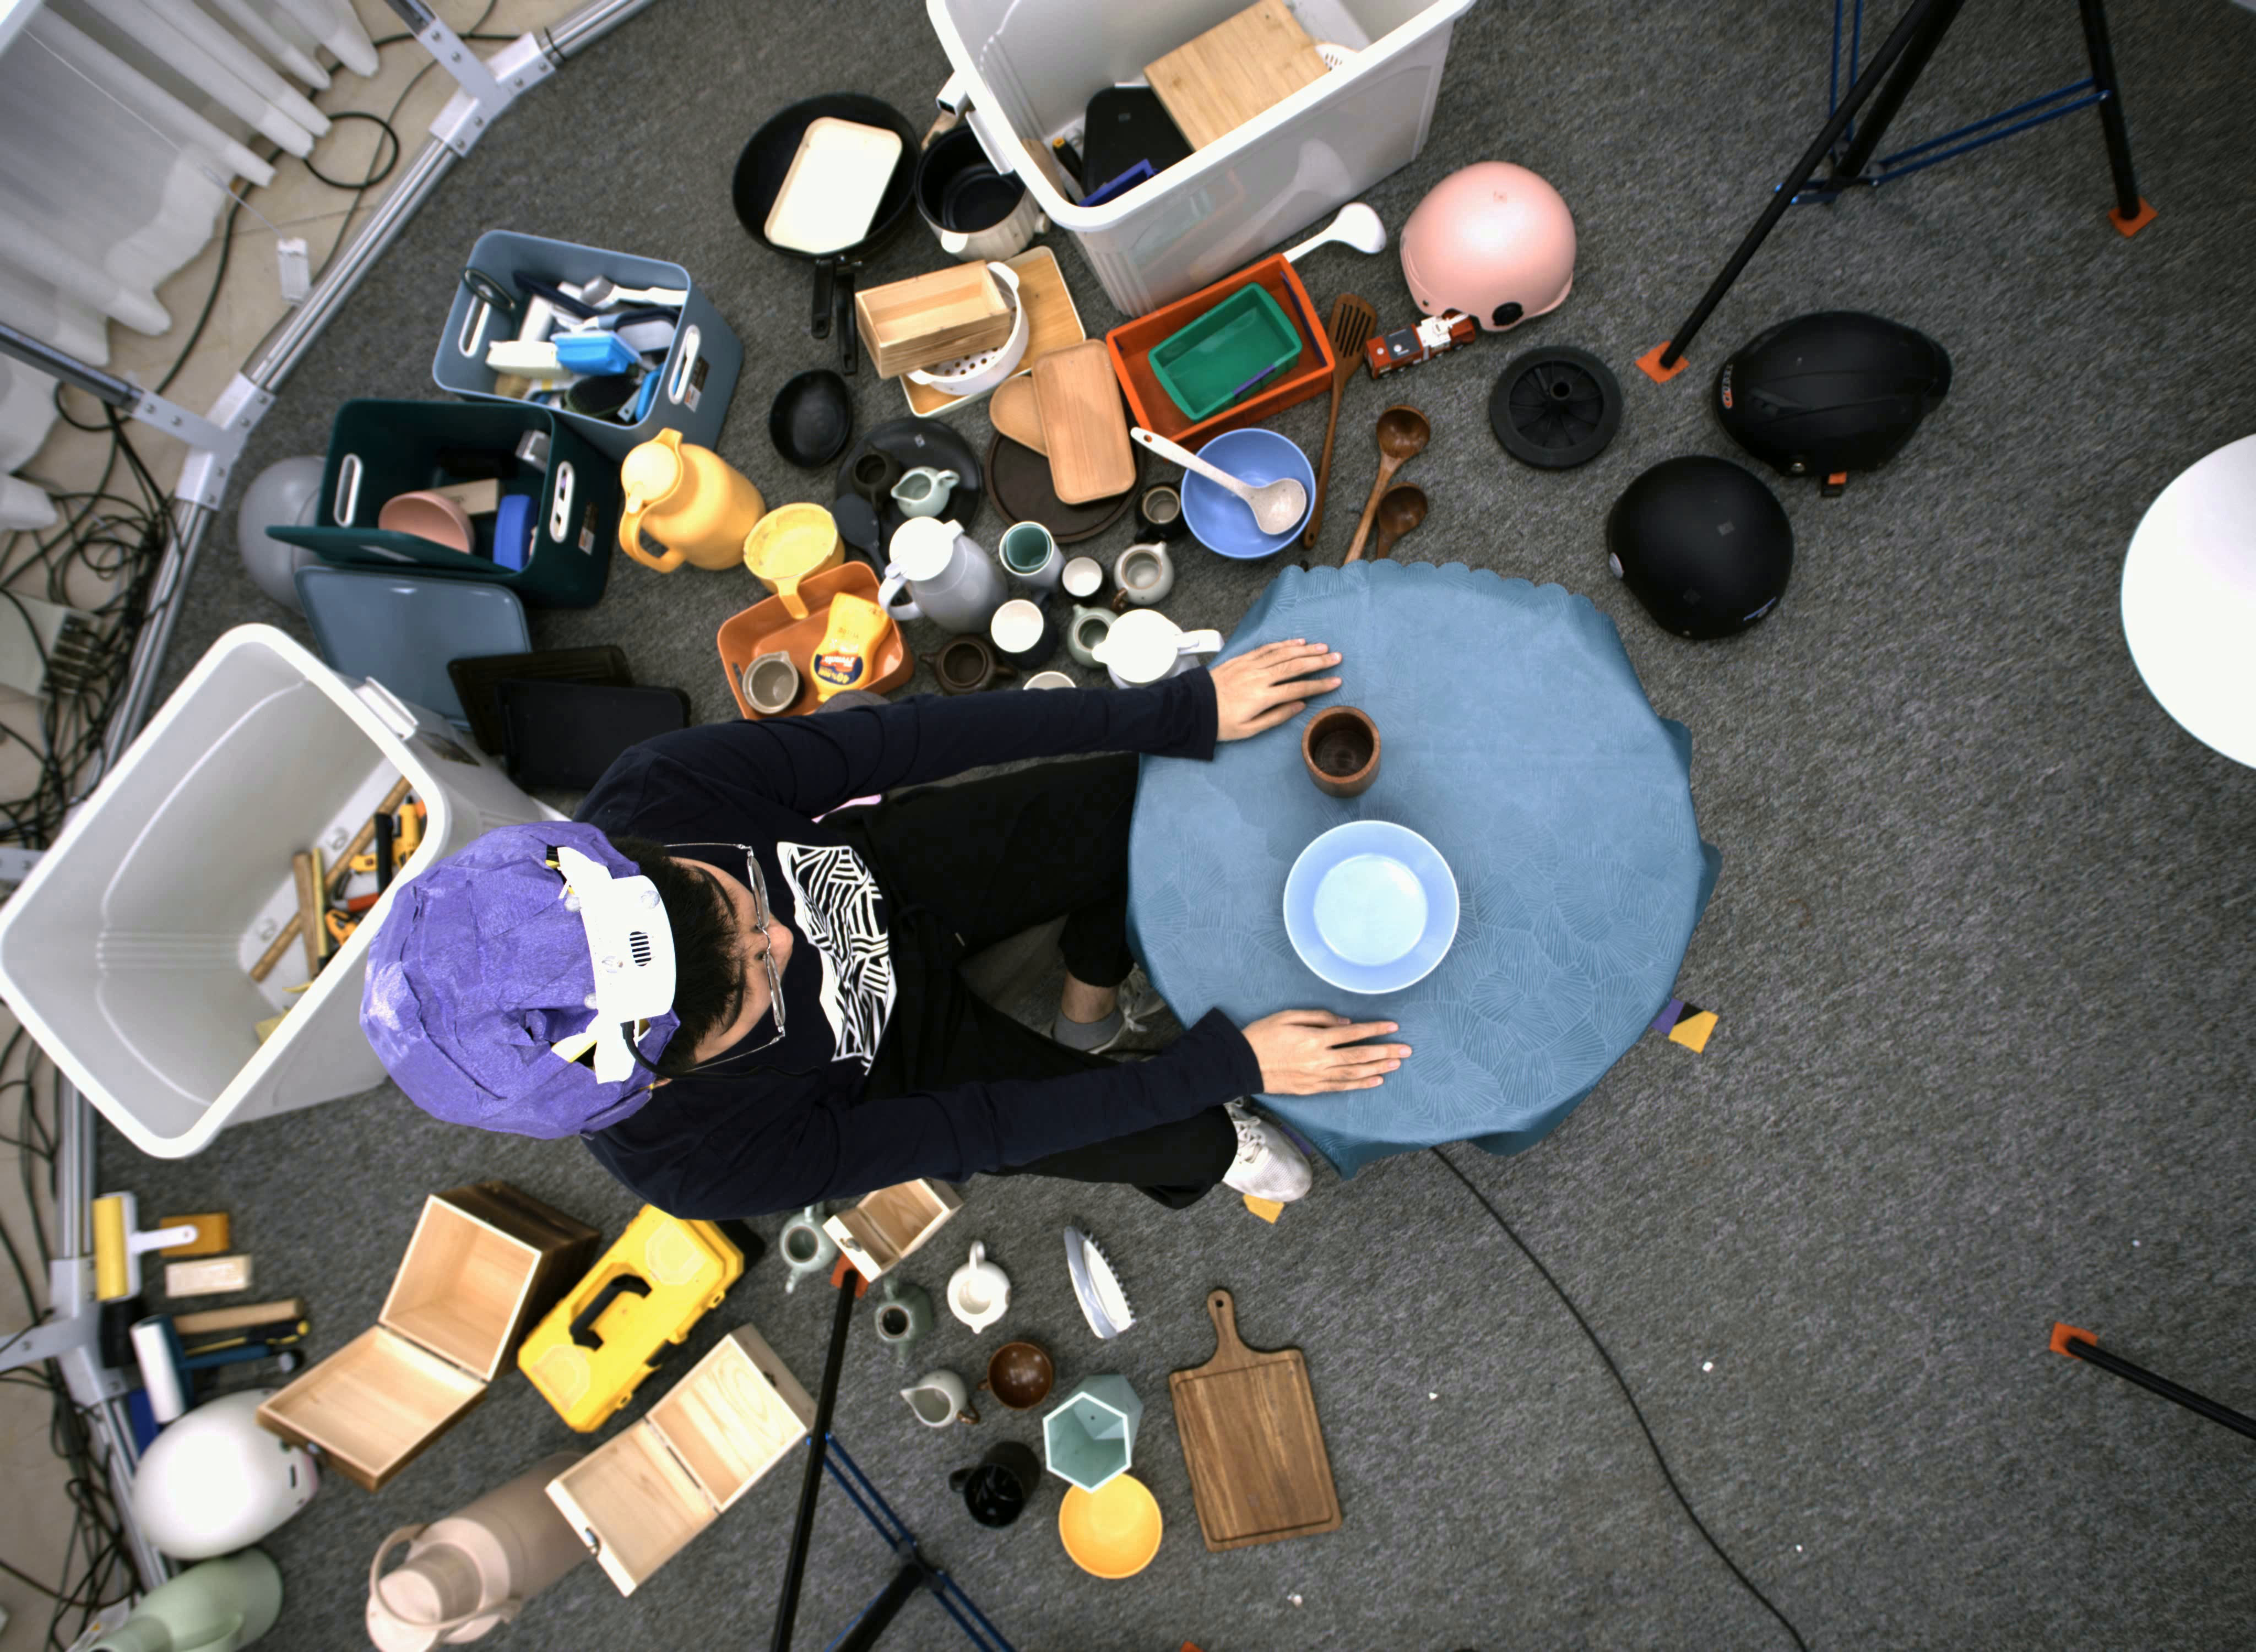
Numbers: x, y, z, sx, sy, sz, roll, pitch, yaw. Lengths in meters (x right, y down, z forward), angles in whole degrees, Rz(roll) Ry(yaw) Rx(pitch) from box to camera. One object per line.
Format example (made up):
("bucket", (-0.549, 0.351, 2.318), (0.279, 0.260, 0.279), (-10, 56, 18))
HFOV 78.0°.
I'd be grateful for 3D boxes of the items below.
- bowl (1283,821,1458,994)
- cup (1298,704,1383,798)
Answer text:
("bowl", (0.249, 0.085, 1.427), (0.177, 0.070, 0.175), (-1, 86, 11))
("cup", (0.222, -0.075, 1.416), (0.088, 0.118, 0.087), (-1, 85, 12))
